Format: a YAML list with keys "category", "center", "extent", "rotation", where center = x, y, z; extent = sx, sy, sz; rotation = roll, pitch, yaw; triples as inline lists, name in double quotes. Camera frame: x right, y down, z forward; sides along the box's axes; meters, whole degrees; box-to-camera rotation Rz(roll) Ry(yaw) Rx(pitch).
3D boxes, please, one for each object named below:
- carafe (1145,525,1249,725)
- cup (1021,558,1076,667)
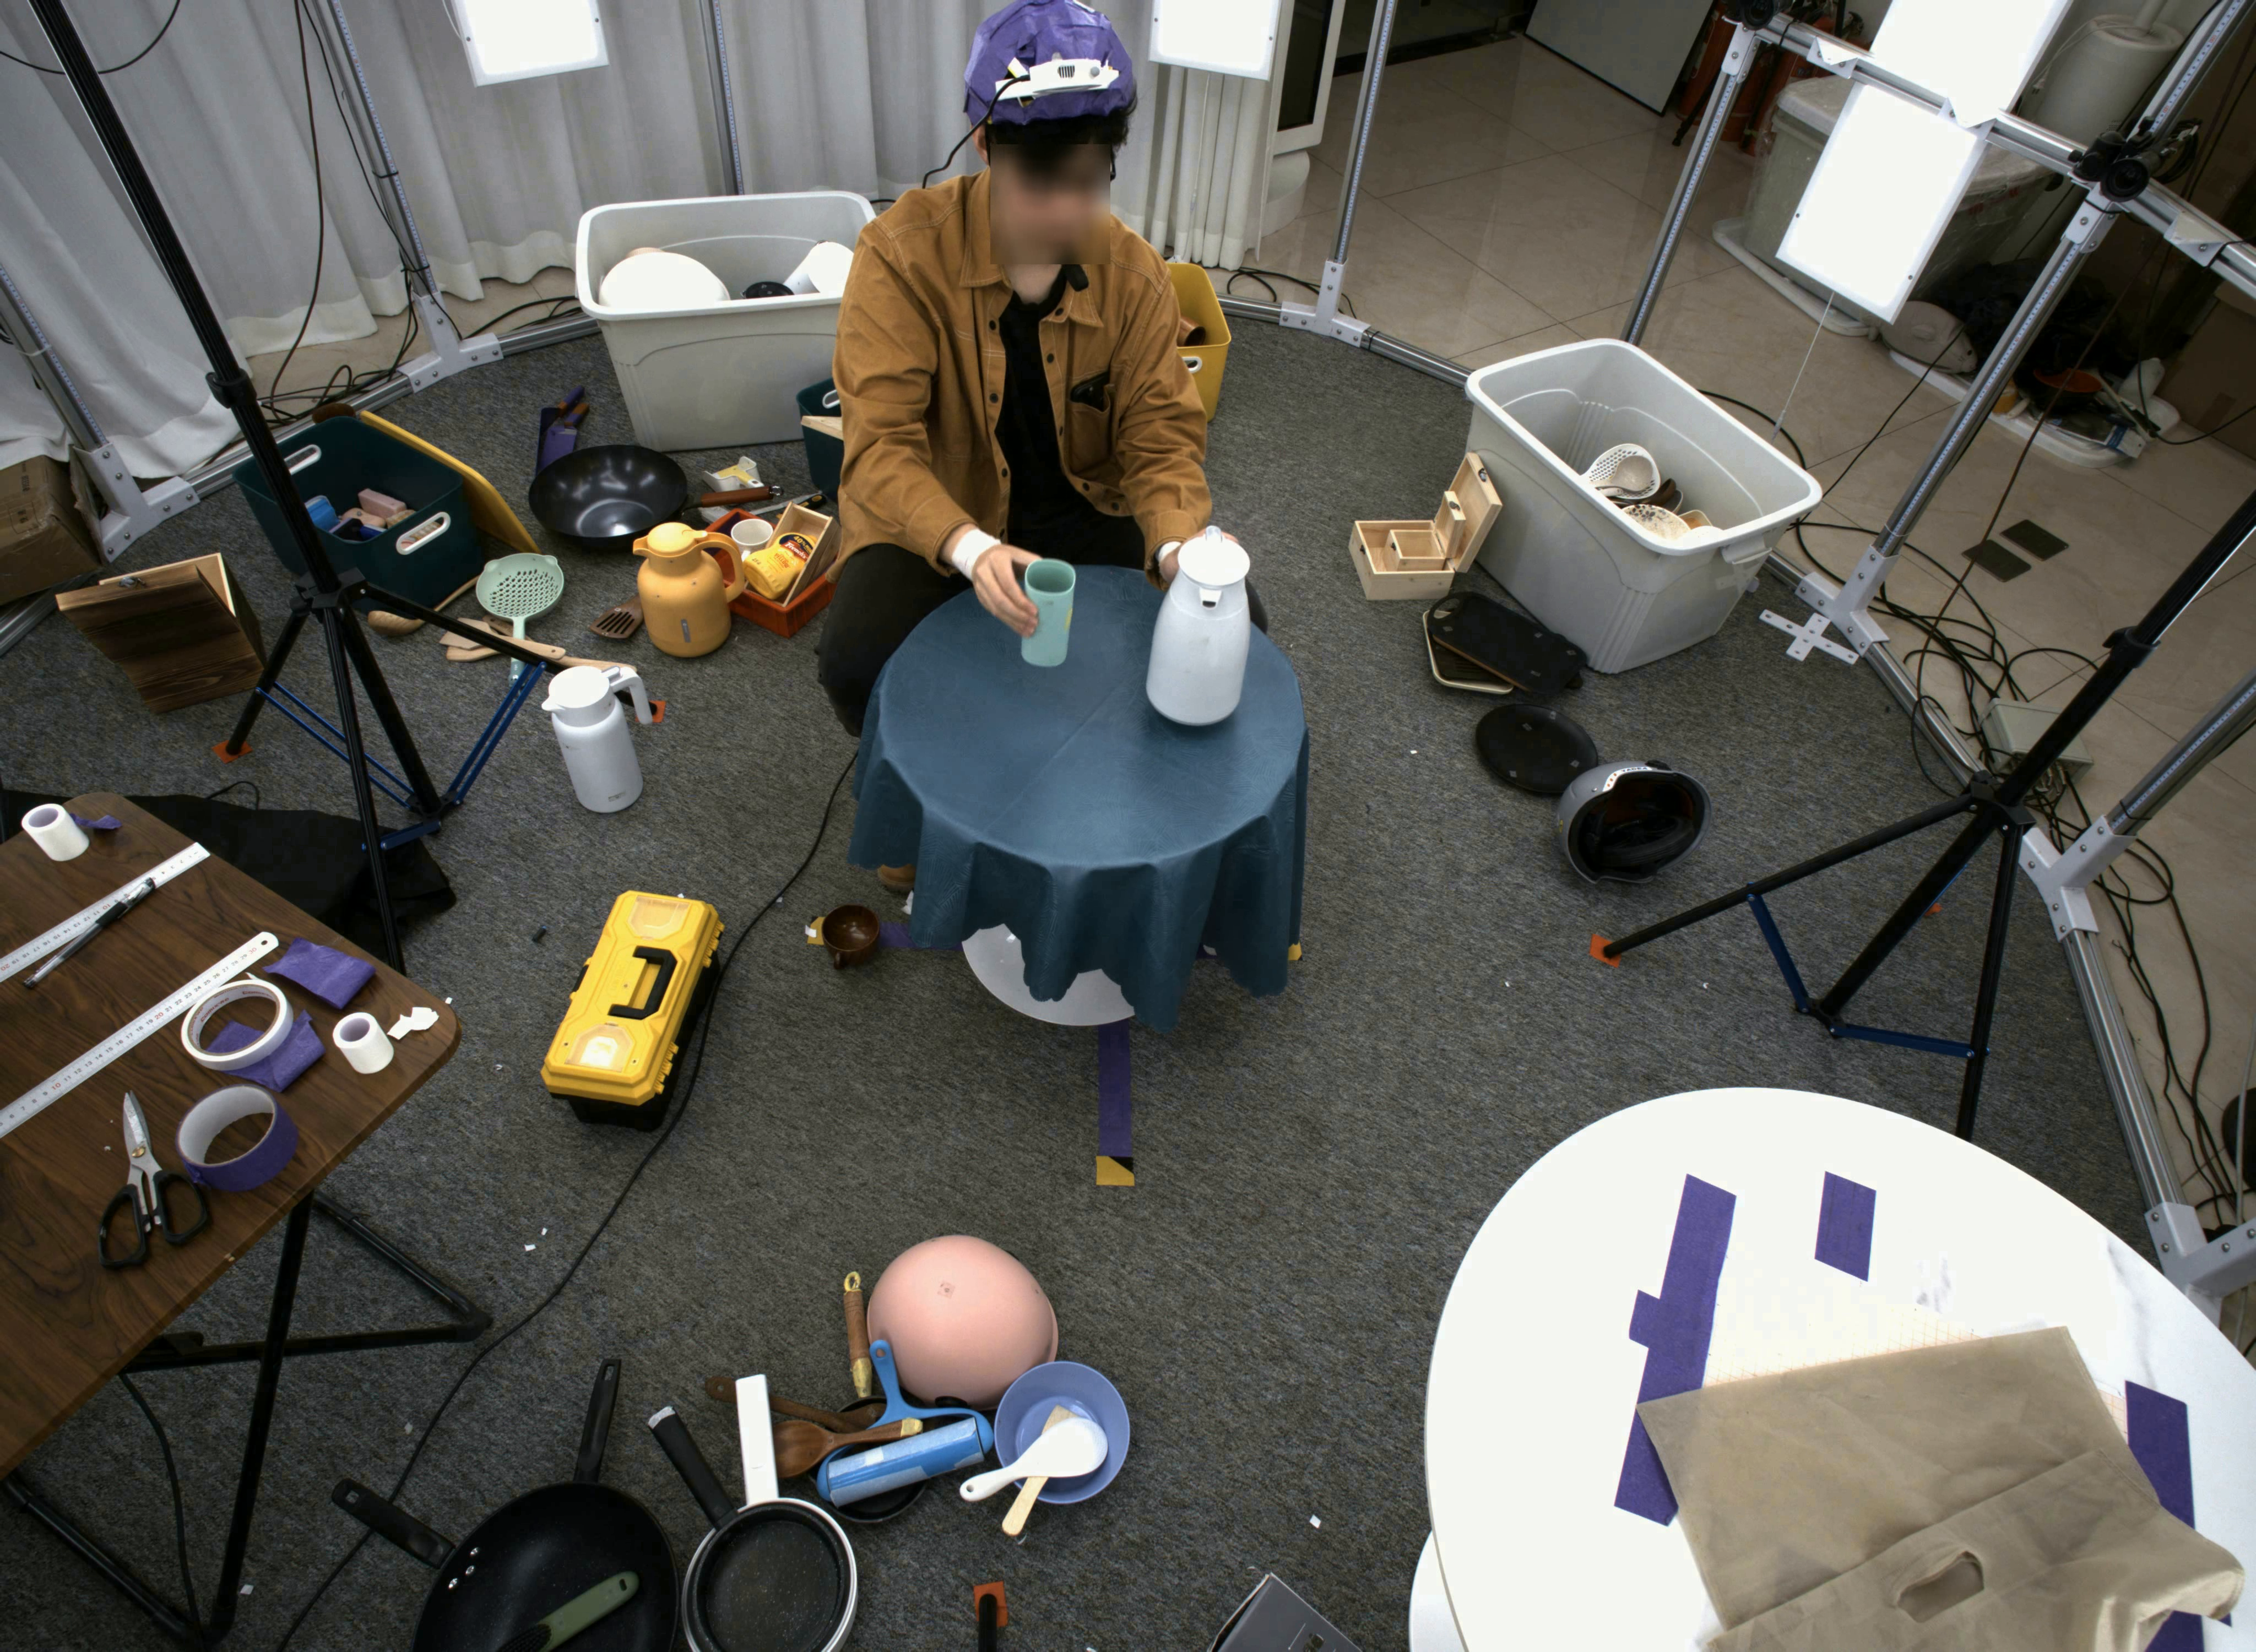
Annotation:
- category: "carafe"
  center: [0.099, -0.280, 1.713]
  extent: [0.132, 0.243, 0.172]
  rotation: [6, 50, 0]
- category: "cup"
  center: [-0.104, -0.270, 1.636]
  extent: [0.066, 0.129, 0.068]
  rotation: [4, 52, -5]
